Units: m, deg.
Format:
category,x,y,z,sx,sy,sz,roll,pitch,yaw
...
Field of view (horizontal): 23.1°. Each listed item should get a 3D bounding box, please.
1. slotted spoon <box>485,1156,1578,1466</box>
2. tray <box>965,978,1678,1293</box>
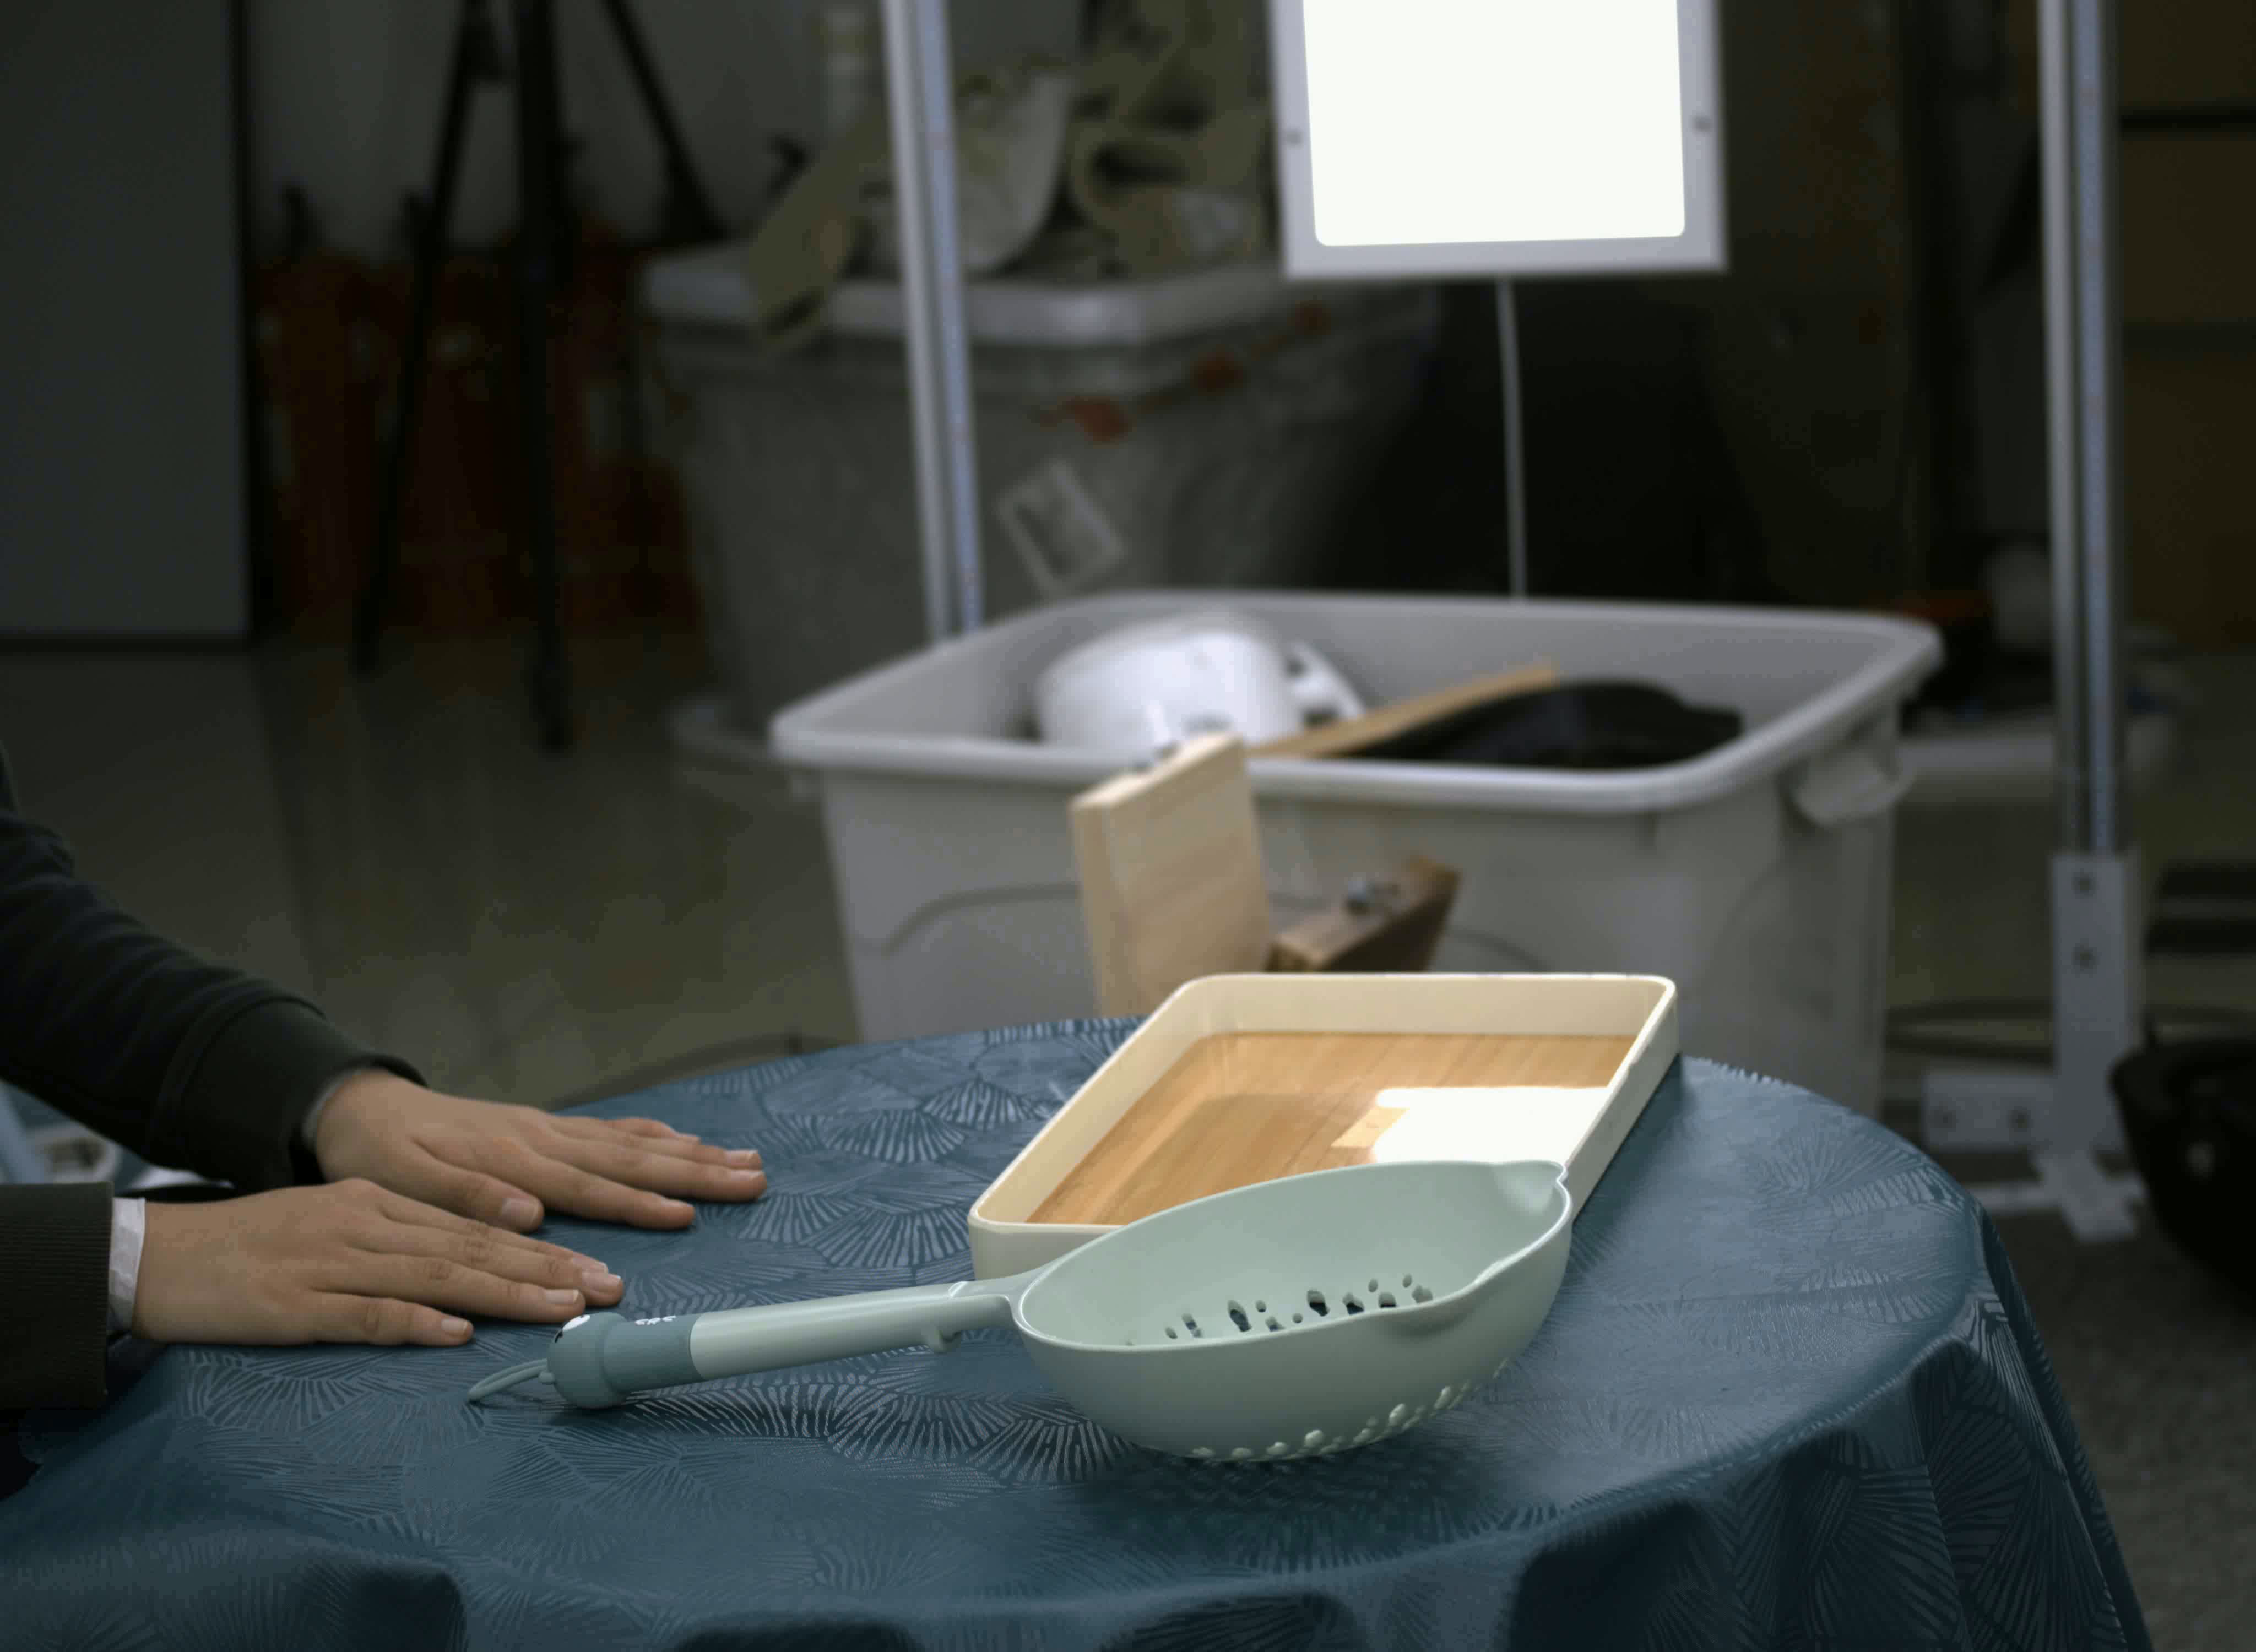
category,x,y,z,sx,sy,sz,roll,pitch,yaw
slotted spoon,-0.037,0.150,1.677,0.364,0.075,0.166,0,14,21
tray,0.074,0.105,1.904,0.194,0.027,0.295,-1,14,18
